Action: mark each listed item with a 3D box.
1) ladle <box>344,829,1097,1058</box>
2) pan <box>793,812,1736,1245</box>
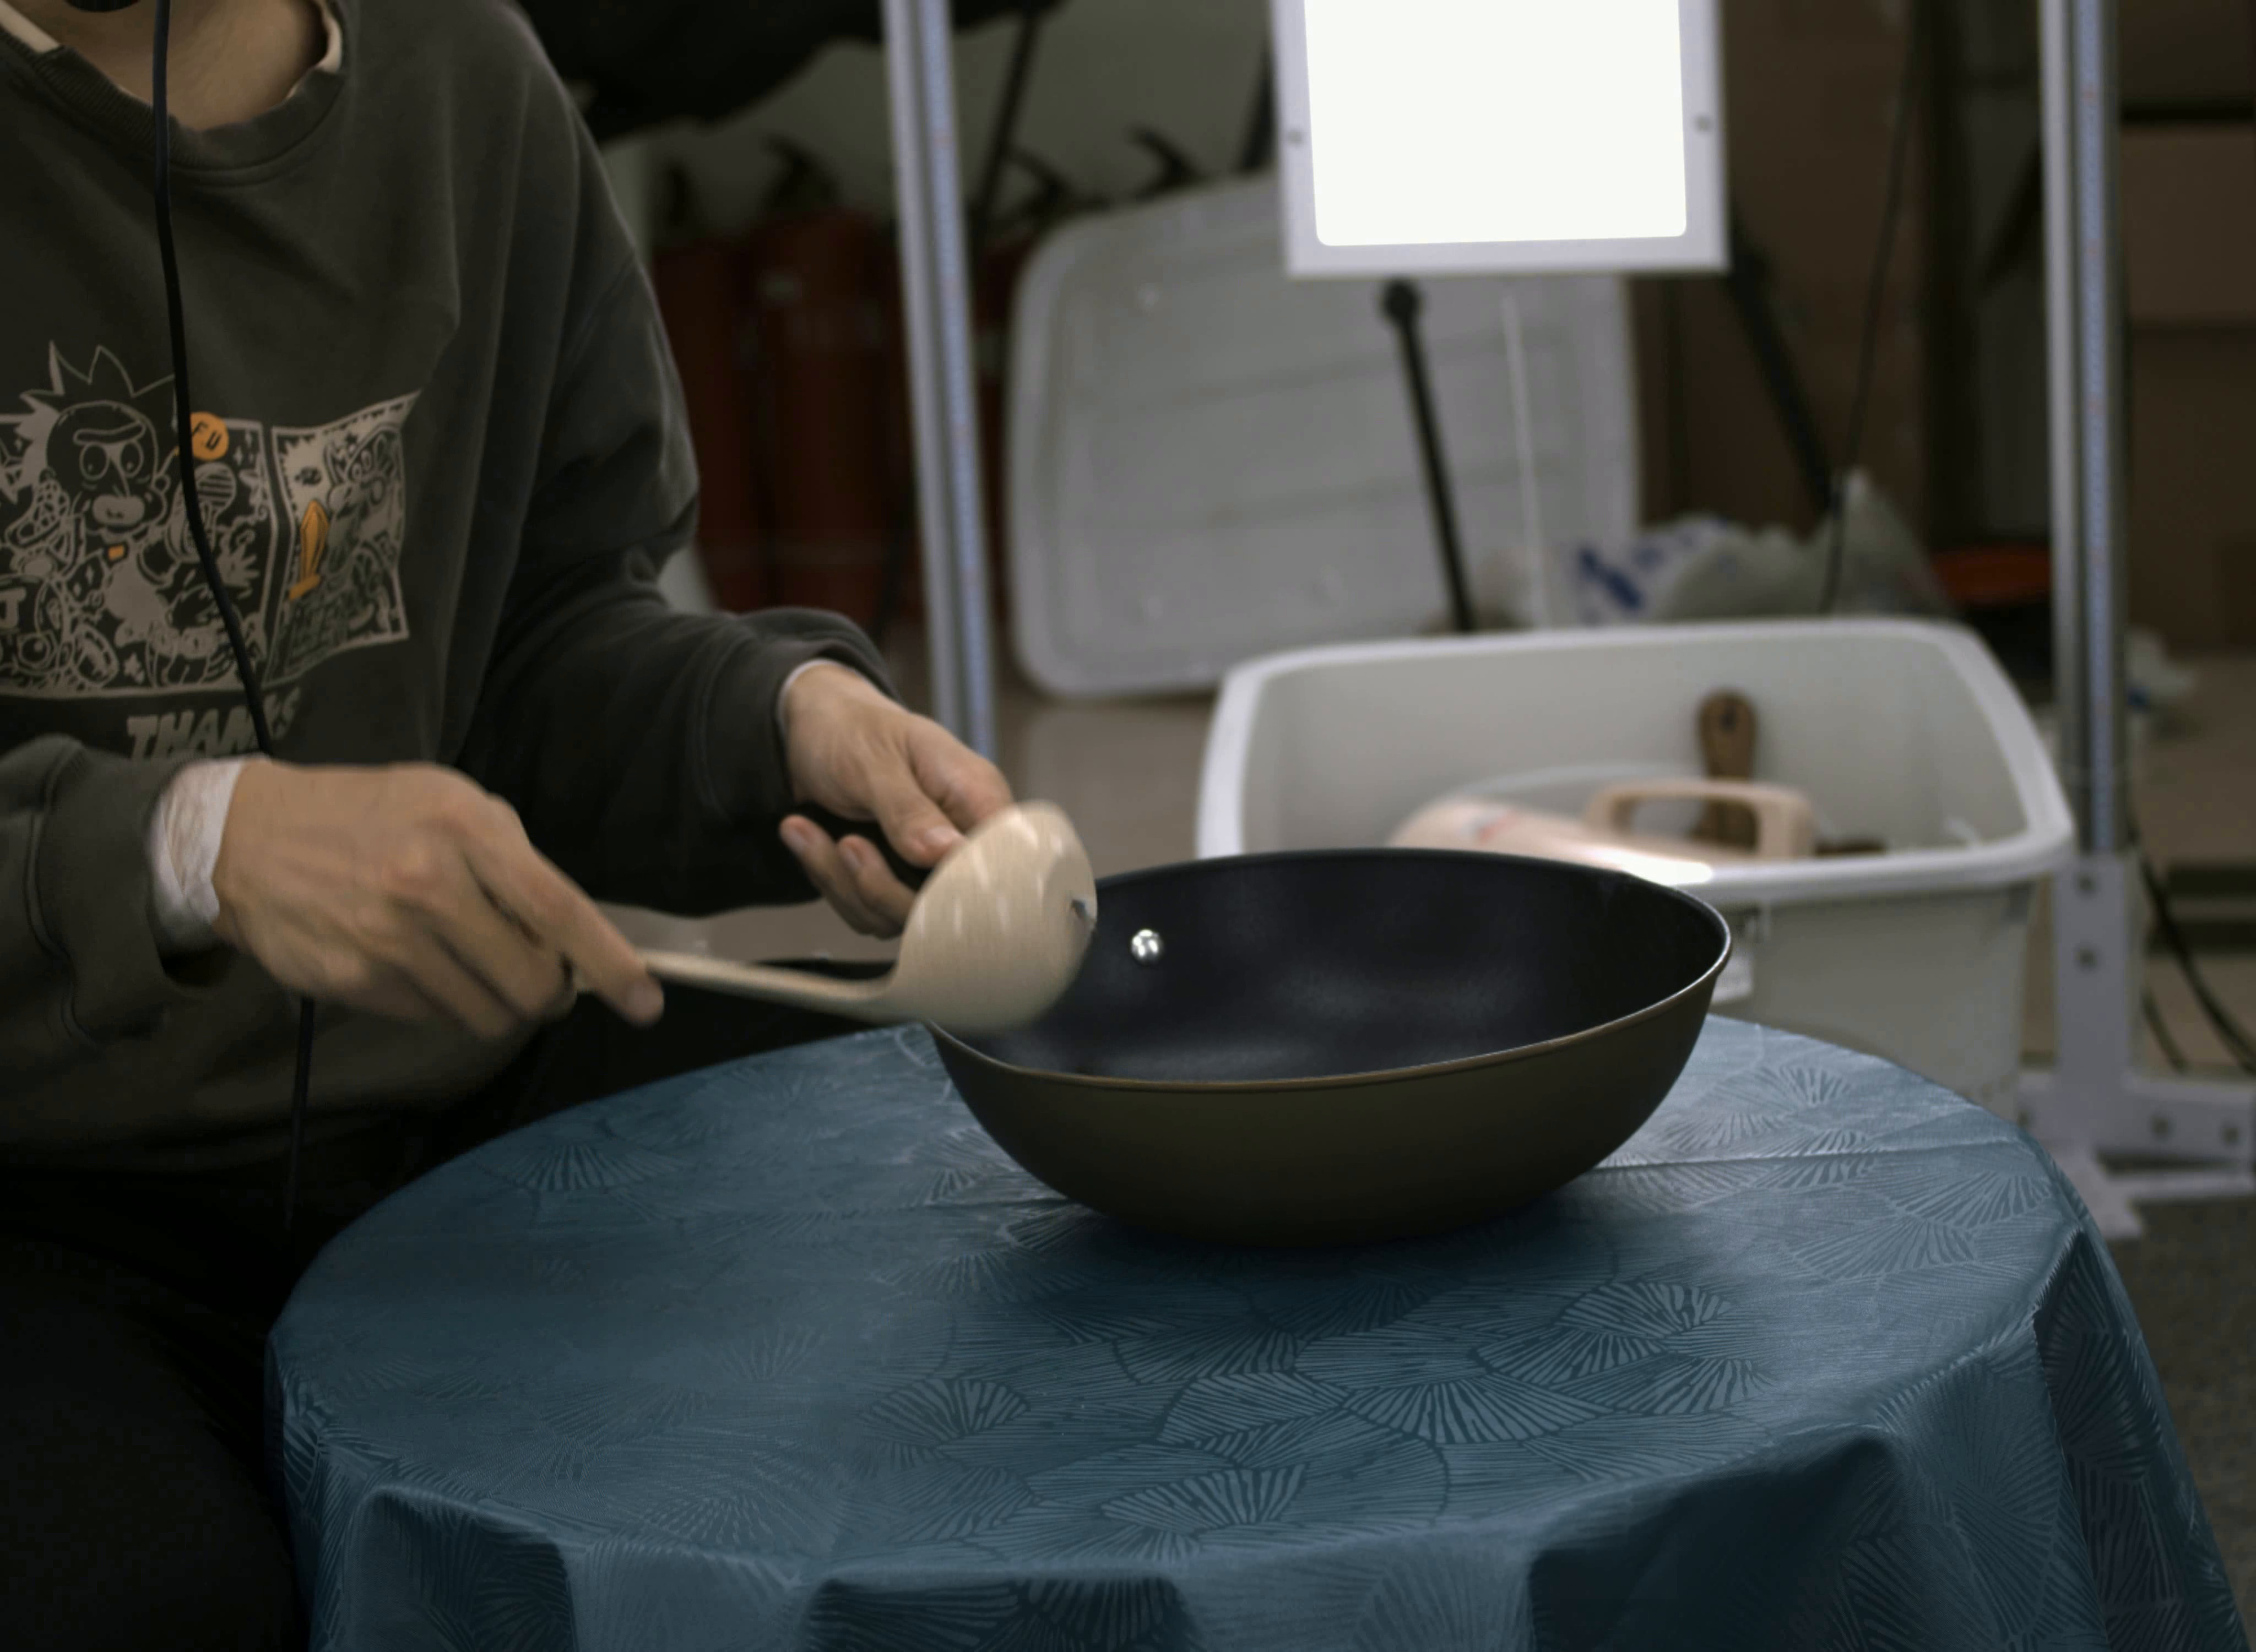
[{"bbox_3d":[-0.131,0.027,1.740,0.259,0.072,0.071,6,-17,27],"label":"ladle"},{"bbox_3d":[0.014,0.067,1.951,0.281,0.087,0.473,-15,17,-34],"label":"pan"}]
